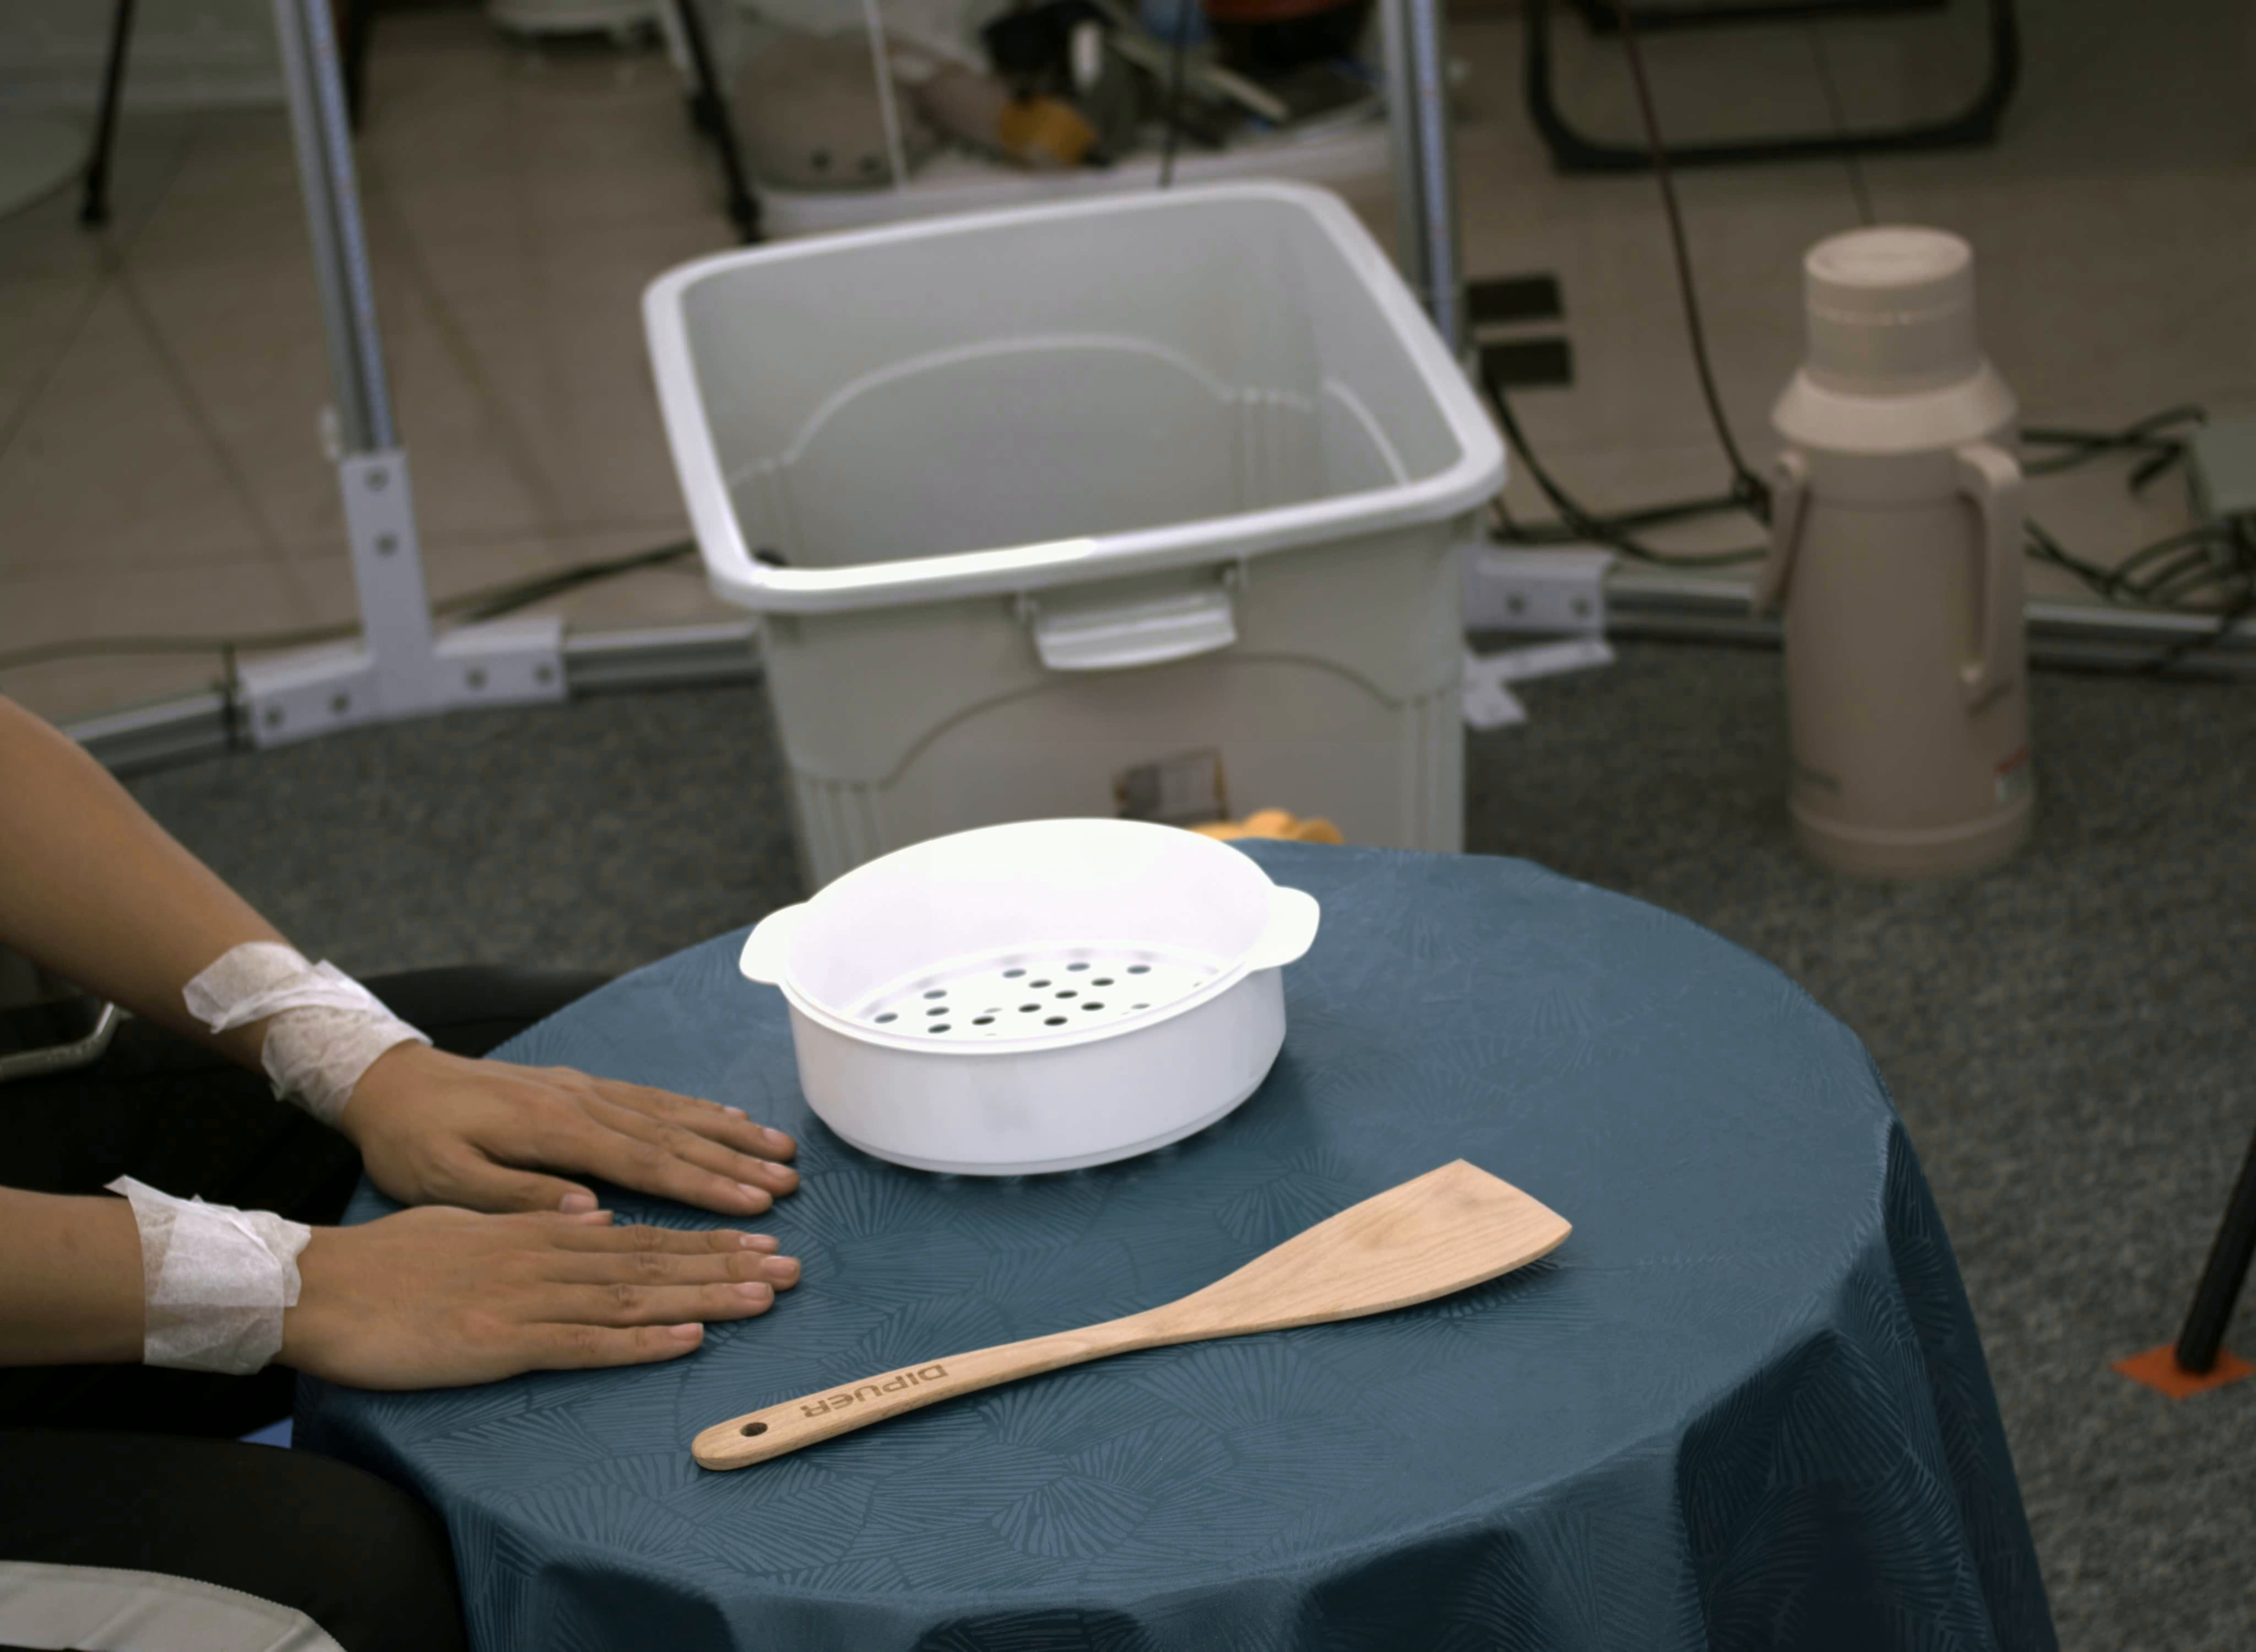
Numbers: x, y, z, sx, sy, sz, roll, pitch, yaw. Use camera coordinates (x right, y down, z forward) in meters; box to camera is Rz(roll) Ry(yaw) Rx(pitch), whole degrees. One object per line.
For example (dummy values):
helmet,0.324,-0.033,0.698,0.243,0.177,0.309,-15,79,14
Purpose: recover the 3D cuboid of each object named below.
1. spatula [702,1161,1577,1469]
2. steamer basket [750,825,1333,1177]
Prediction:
spatula,0.001,0.178,2.046,0.326,0.017,0.079,-15,25,-16
steamer basket,-0.031,0.069,2.231,0.230,0.070,0.199,-2,24,11
